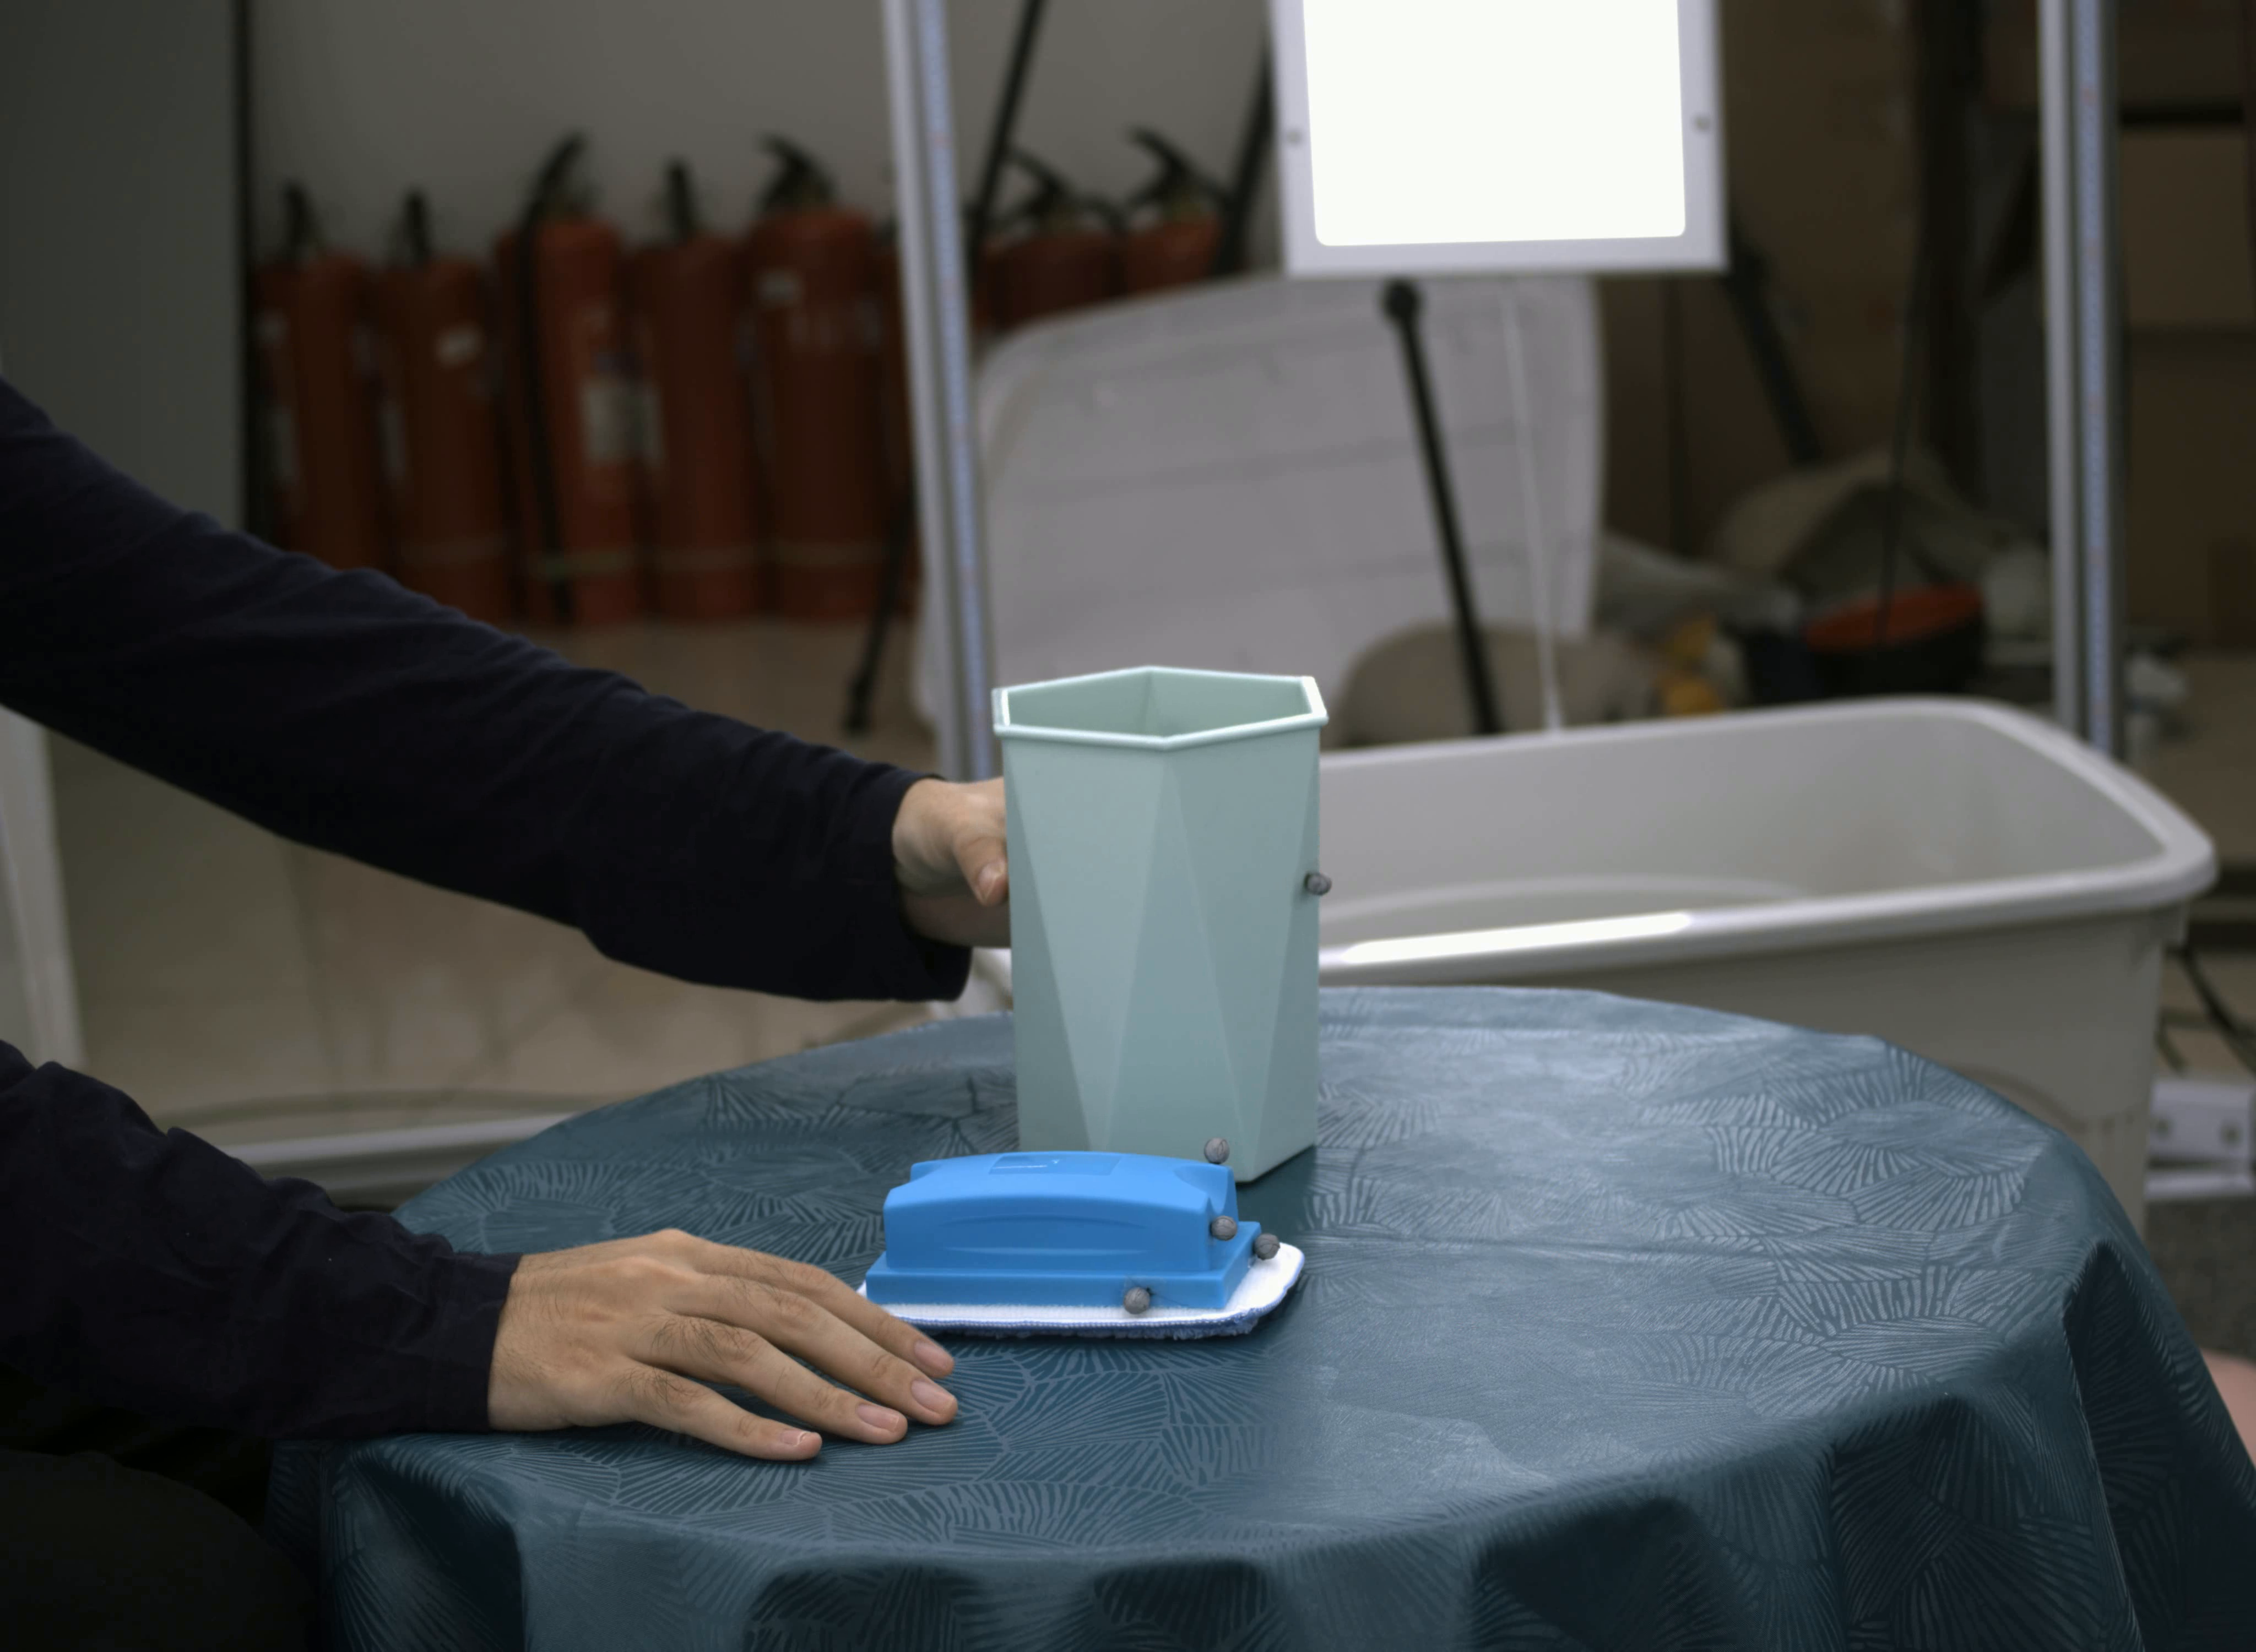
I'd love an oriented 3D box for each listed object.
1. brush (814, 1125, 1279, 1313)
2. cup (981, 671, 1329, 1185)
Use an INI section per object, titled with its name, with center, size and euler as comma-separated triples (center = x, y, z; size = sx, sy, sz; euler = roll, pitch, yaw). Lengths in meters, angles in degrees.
[brush]
center = -0.026, 0.127, 1.779
size = 0.145, 0.056, 0.082
euler = 2, 12, 18
[cup]
center = 0.014, 0.036, 1.917
size = 0.115, 0.163, 0.131
euler = -5, 13, -1
